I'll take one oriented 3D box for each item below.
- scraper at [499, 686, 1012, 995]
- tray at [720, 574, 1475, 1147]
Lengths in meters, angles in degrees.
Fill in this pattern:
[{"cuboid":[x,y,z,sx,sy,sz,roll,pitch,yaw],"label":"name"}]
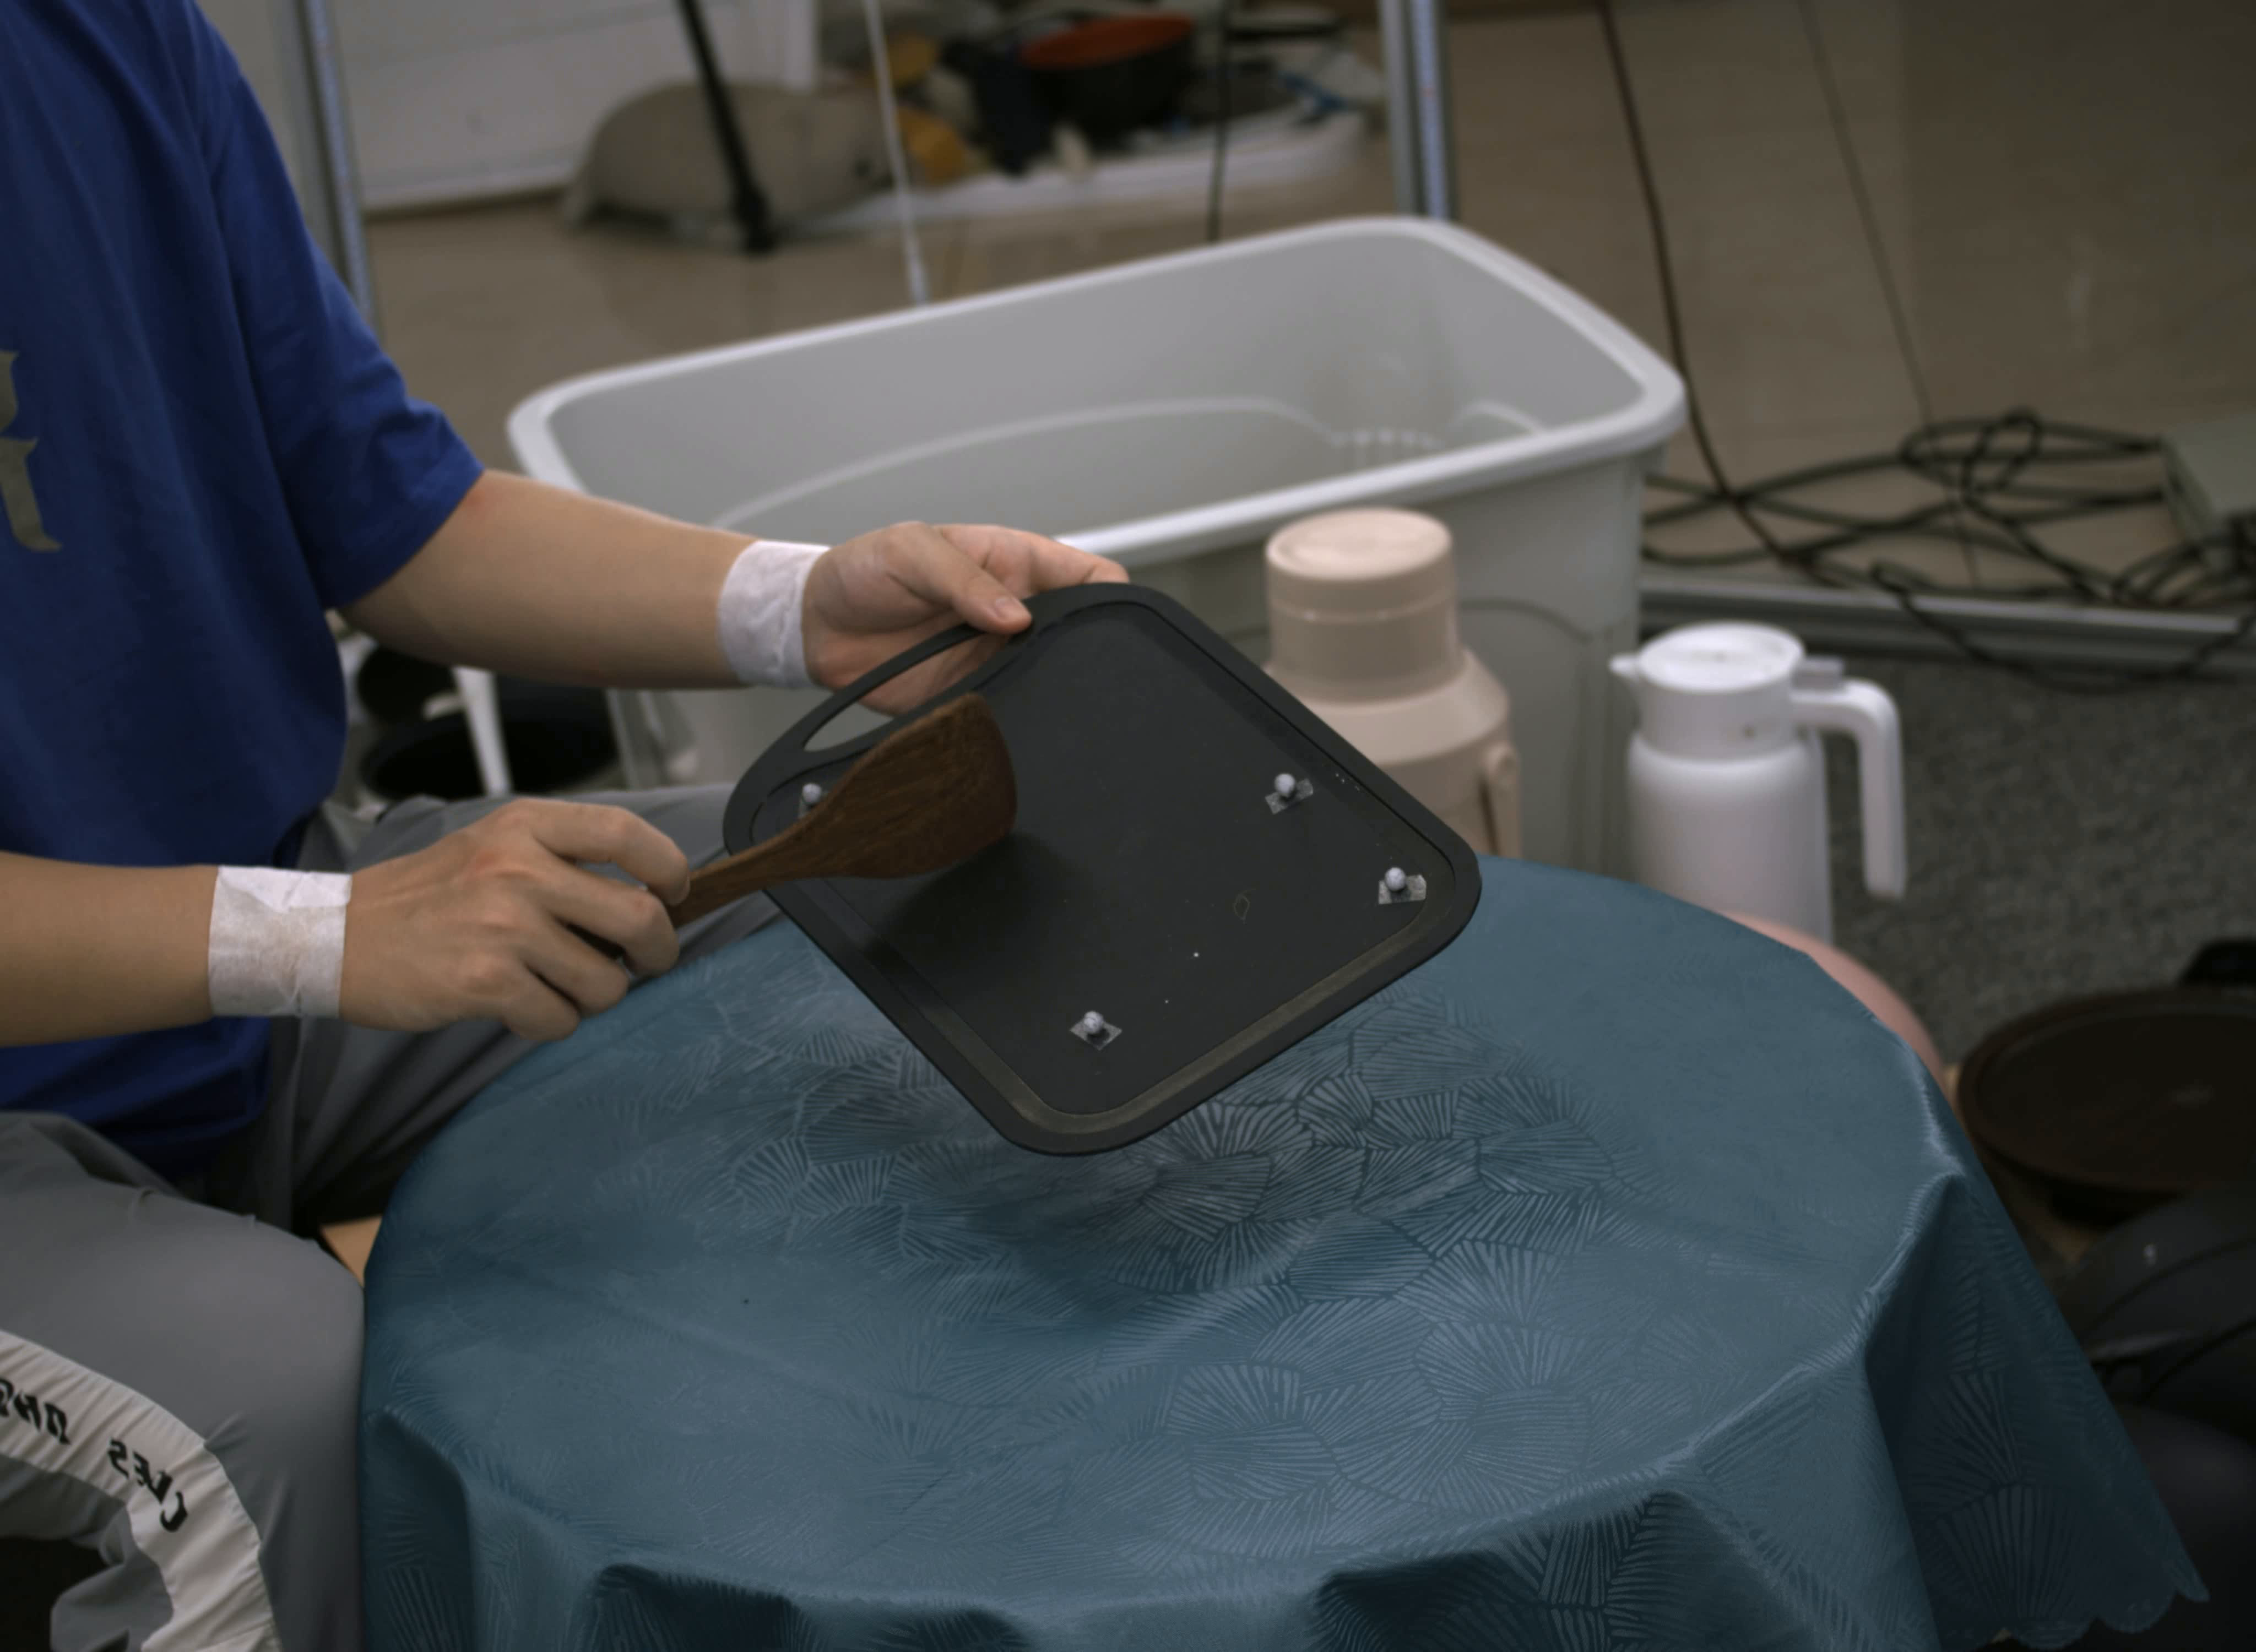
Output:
[{"cuboid":[-0.141,0.014,2.152,0.210,0.077,0.010,-24,44,-8],"label":"scraper"},{"cuboid":[-0.022,0.003,2.178,0.210,0.010,0.321,-32,41,-13],"label":"tray"}]
